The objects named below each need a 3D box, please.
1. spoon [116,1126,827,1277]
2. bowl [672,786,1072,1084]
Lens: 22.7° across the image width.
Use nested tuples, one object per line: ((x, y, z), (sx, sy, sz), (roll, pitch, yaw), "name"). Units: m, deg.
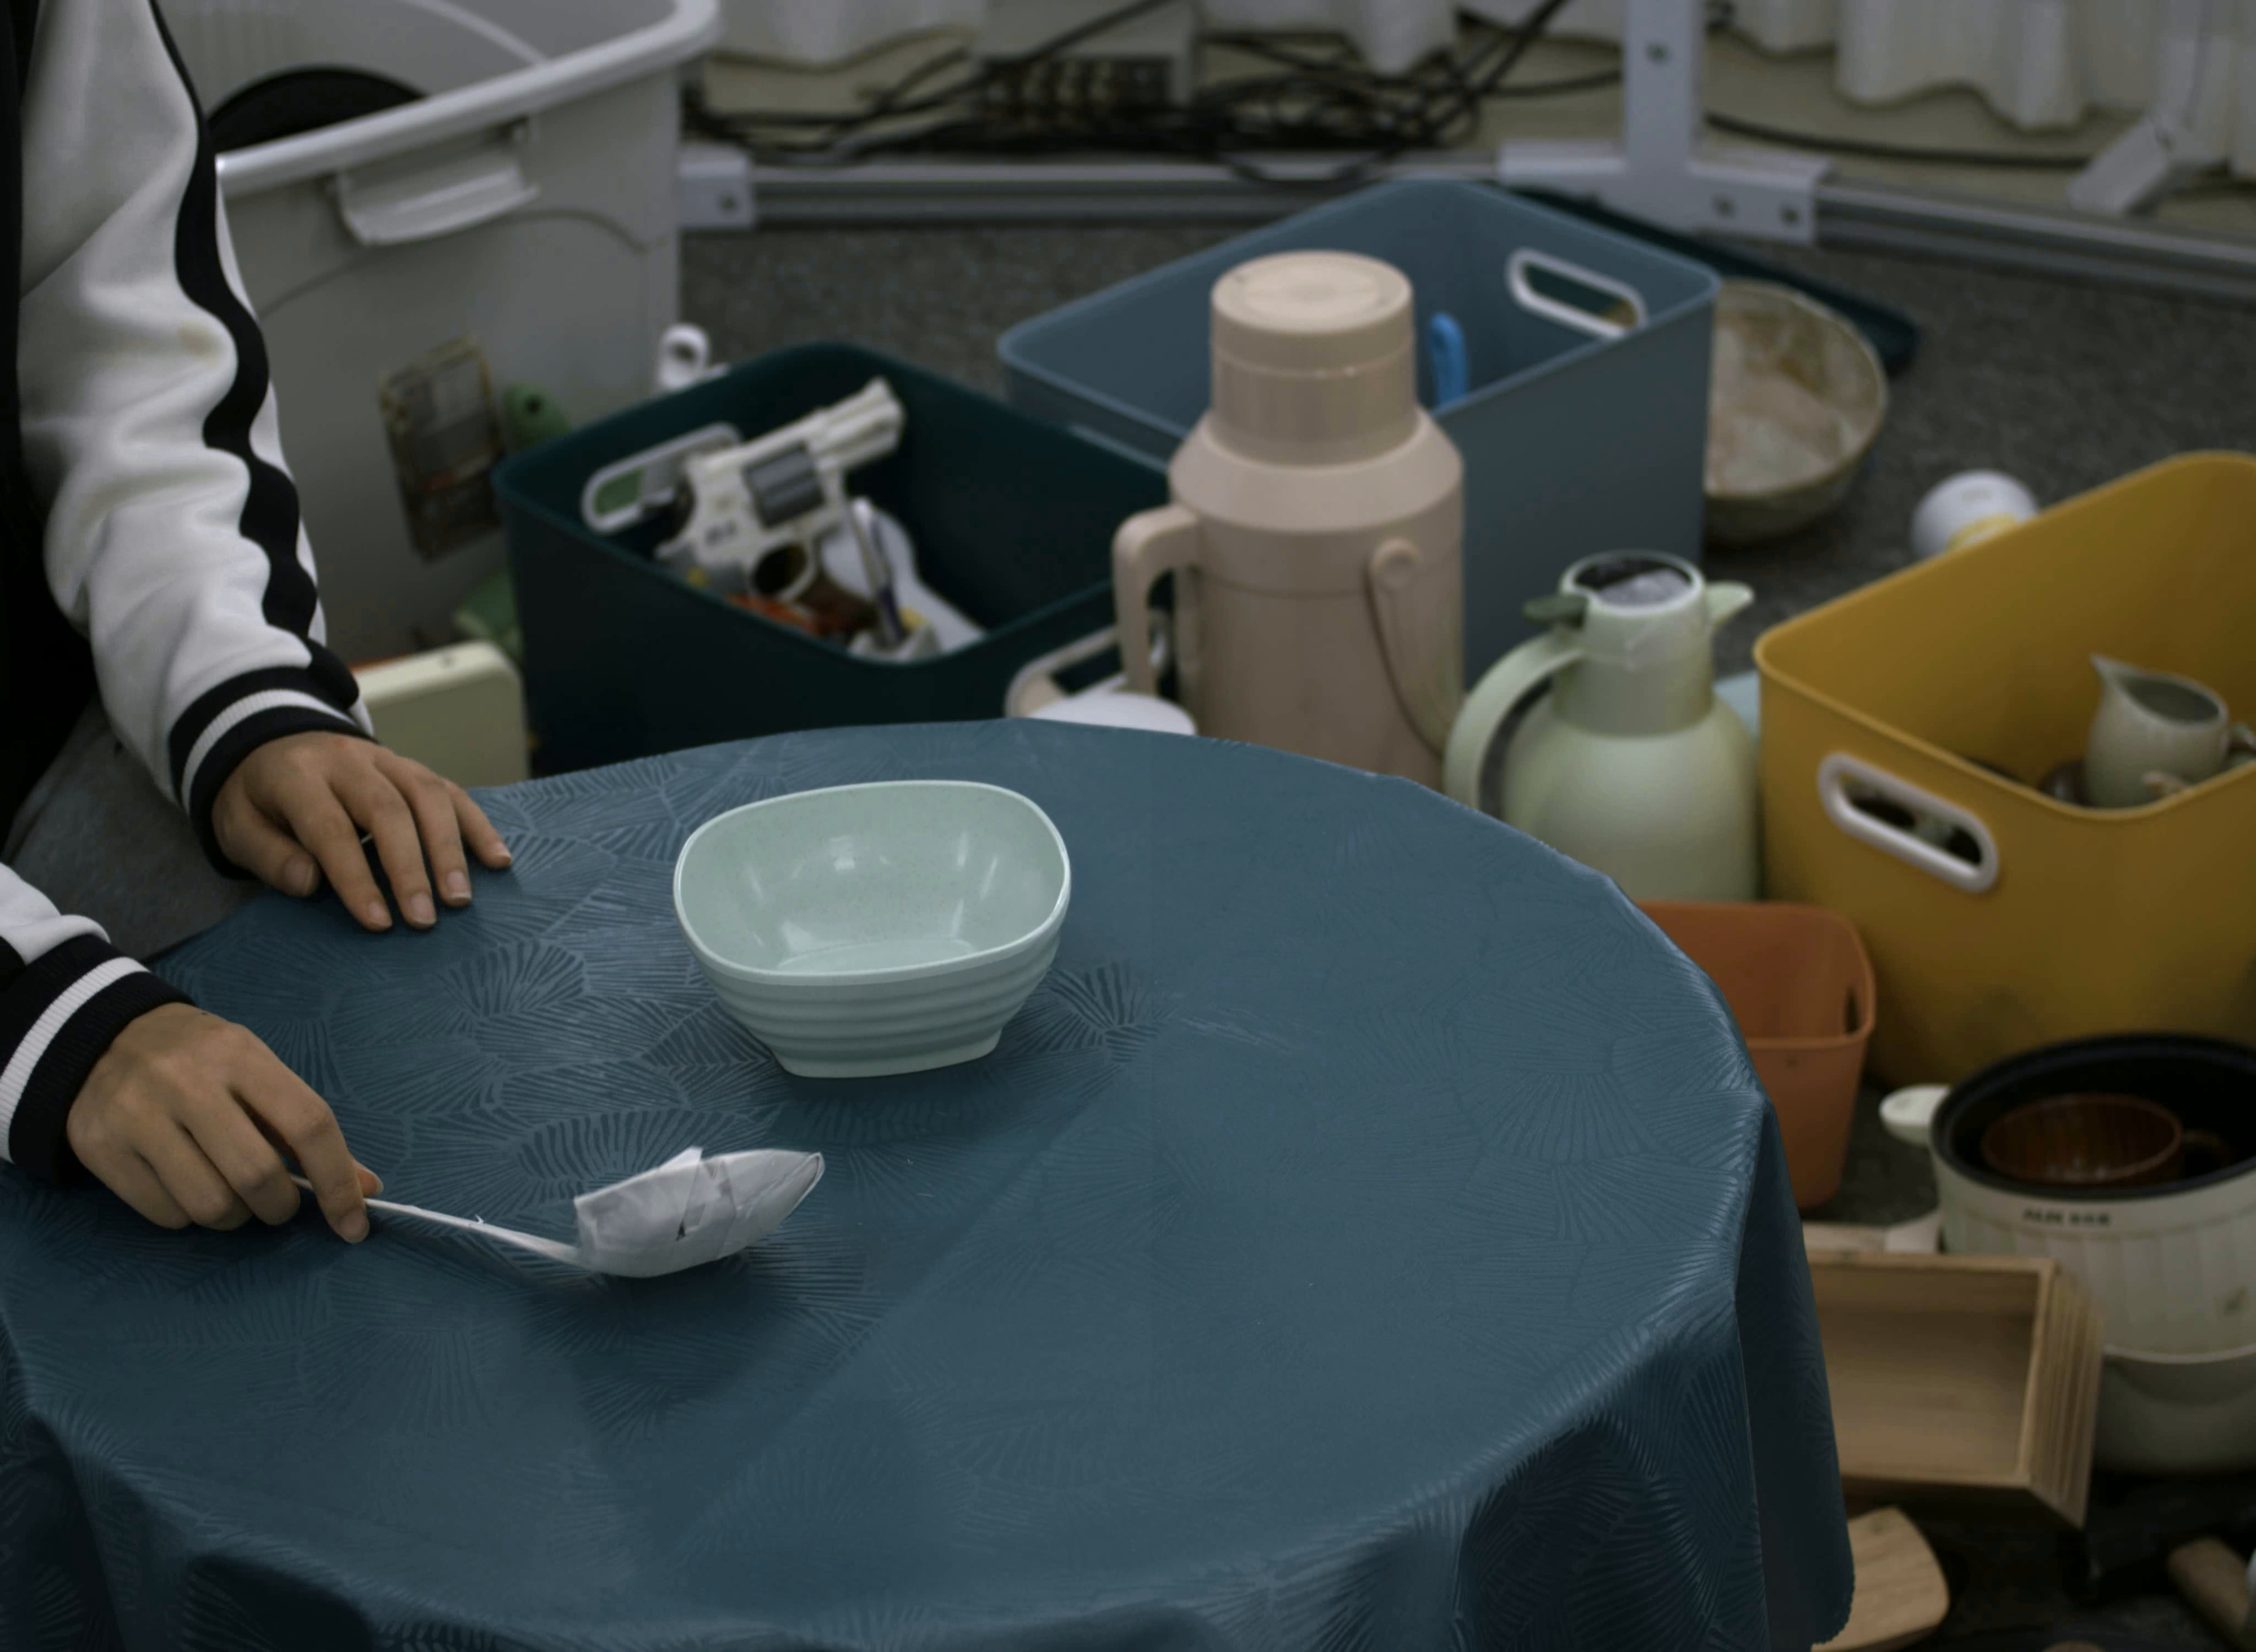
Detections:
((-0.222, 0.105, 1.860), (0.275, 0.060, 0.100), (11, -10, 33), "spoon")
((-0.088, 0.044, 1.963), (0.151, 0.058, 0.154), (-2, 27, 1), "bowl")
